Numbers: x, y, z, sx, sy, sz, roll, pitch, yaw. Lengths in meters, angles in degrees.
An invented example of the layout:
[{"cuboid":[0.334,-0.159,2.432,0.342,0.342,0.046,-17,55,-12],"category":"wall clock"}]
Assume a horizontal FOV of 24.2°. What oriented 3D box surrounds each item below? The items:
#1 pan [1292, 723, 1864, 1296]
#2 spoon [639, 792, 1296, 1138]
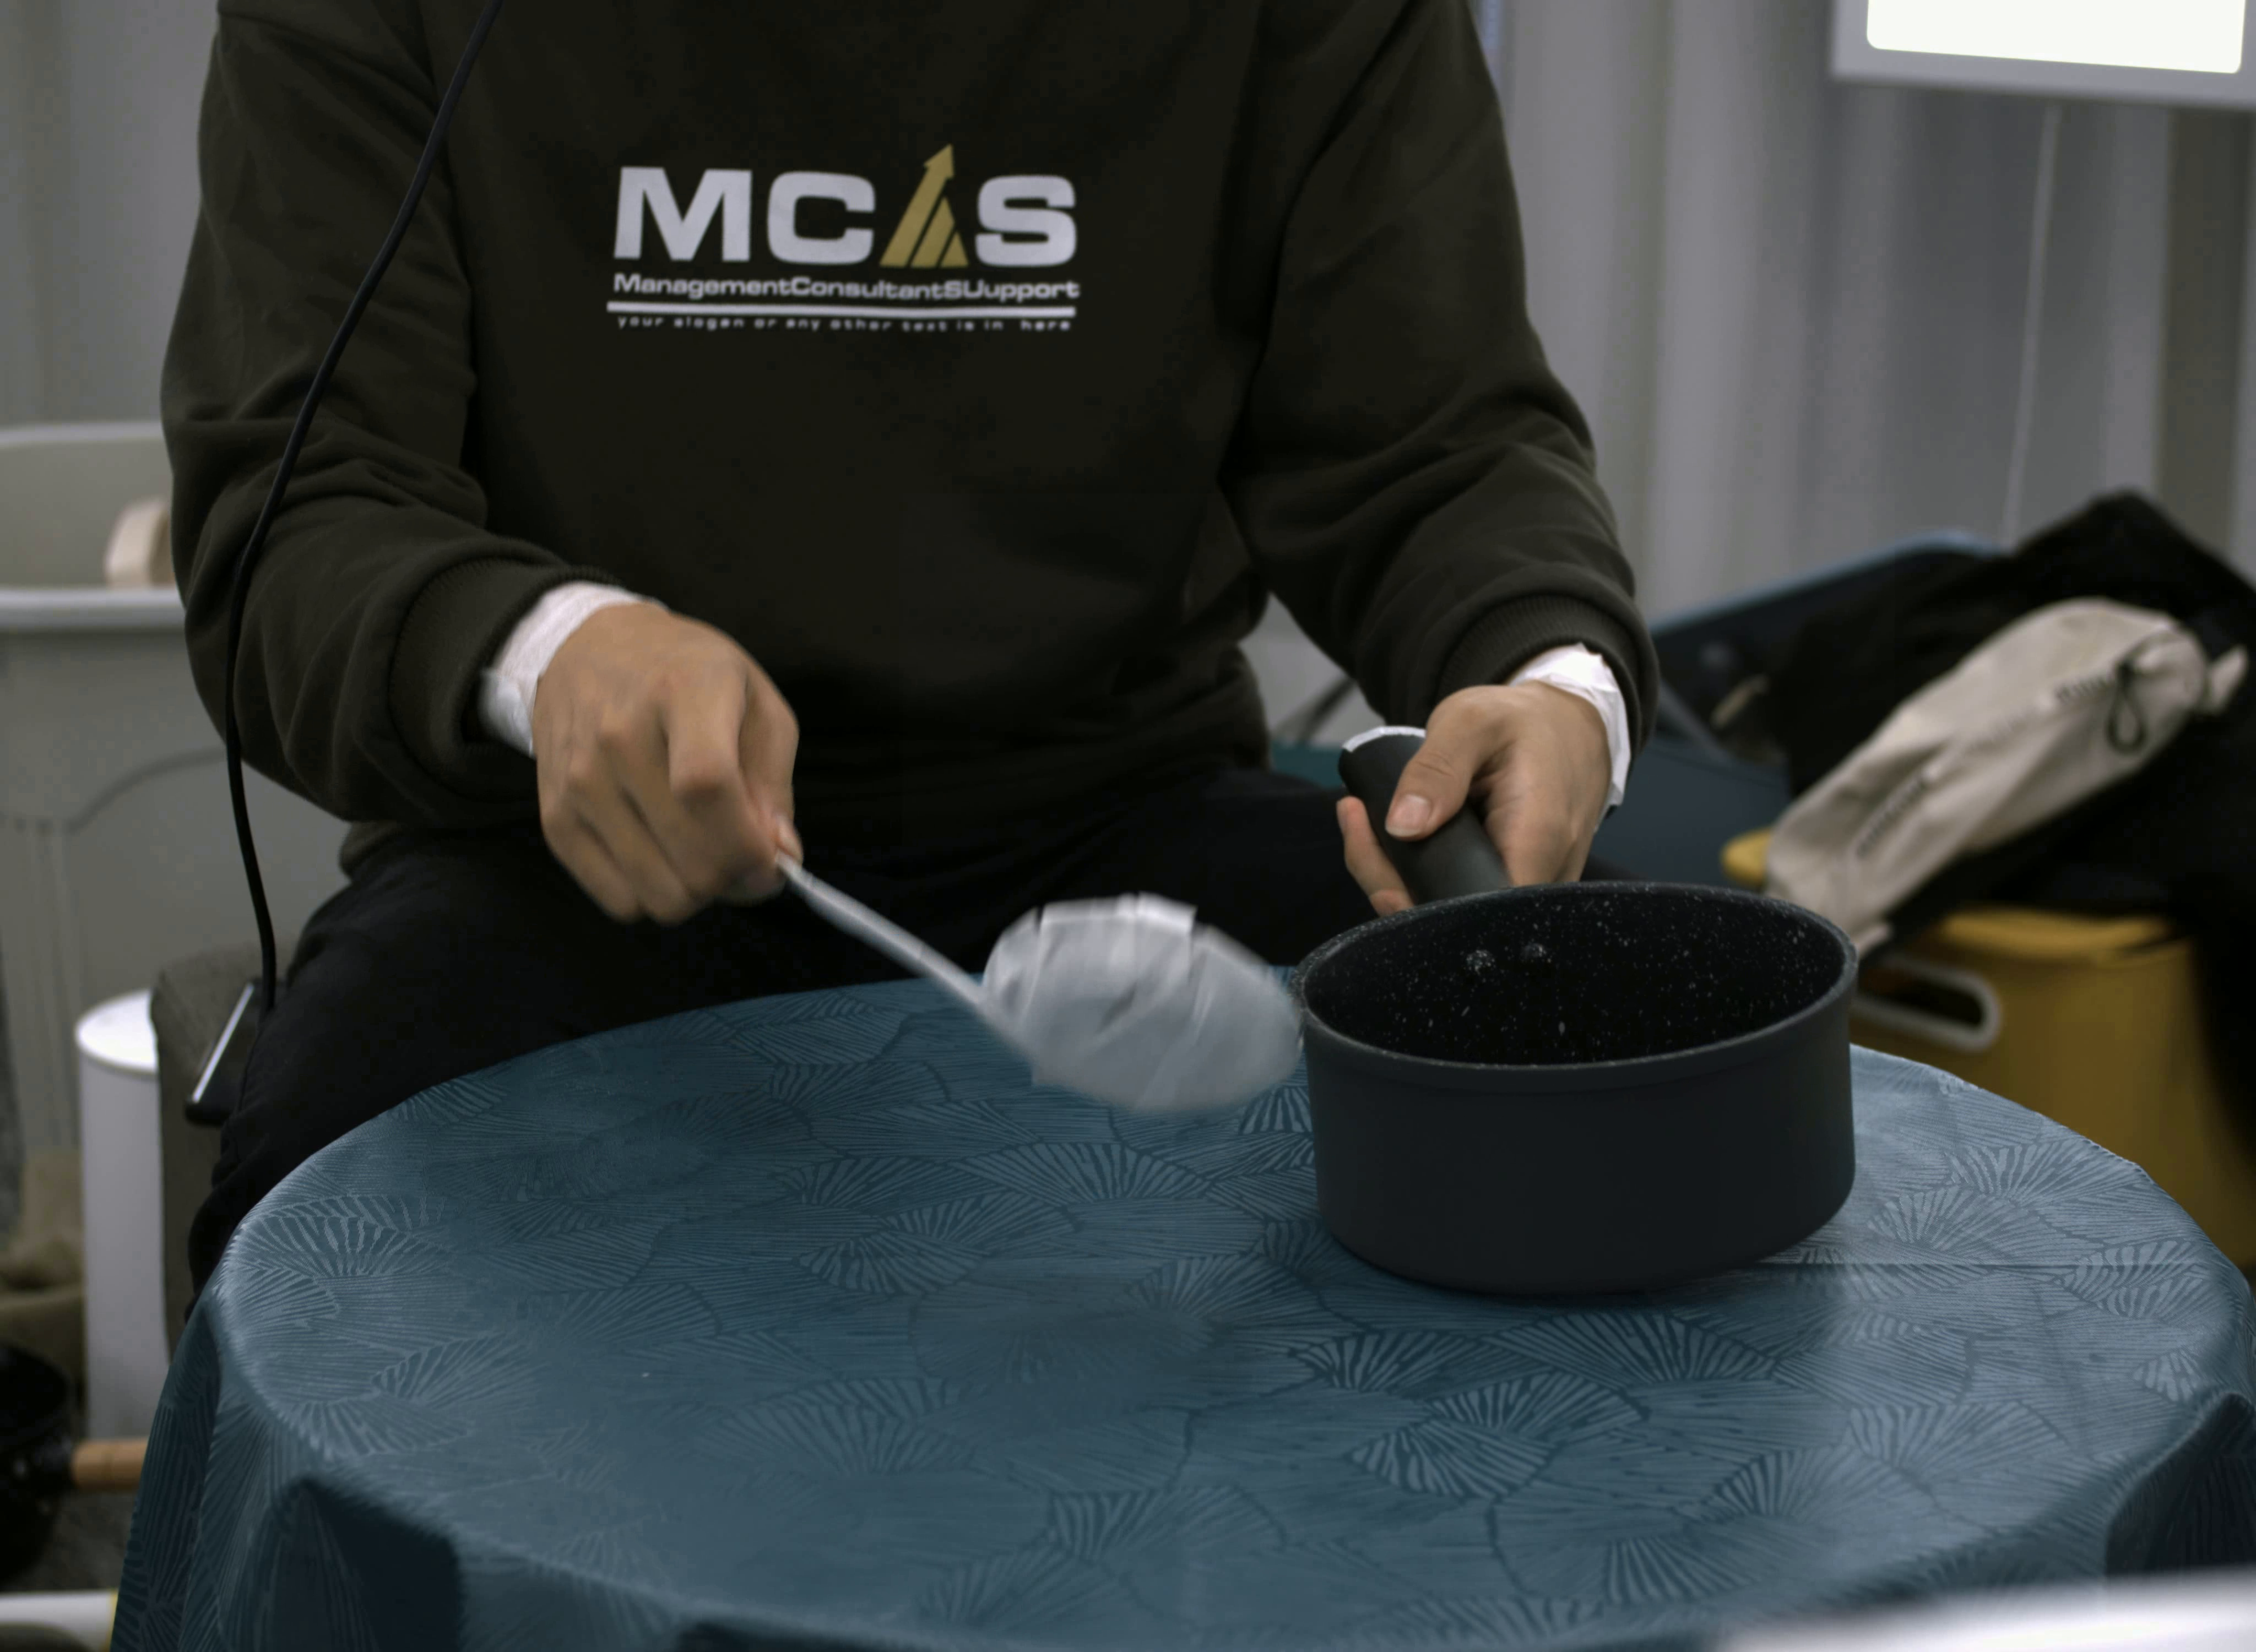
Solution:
[{"cuboid":[0.125,0.053,1.661,0.172,0.087,0.326,-5,18,-7],"category":"pan"},{"cuboid":[-0.053,0.026,1.570,0.059,0.102,0.273,-42,40,-15],"category":"spoon"}]
